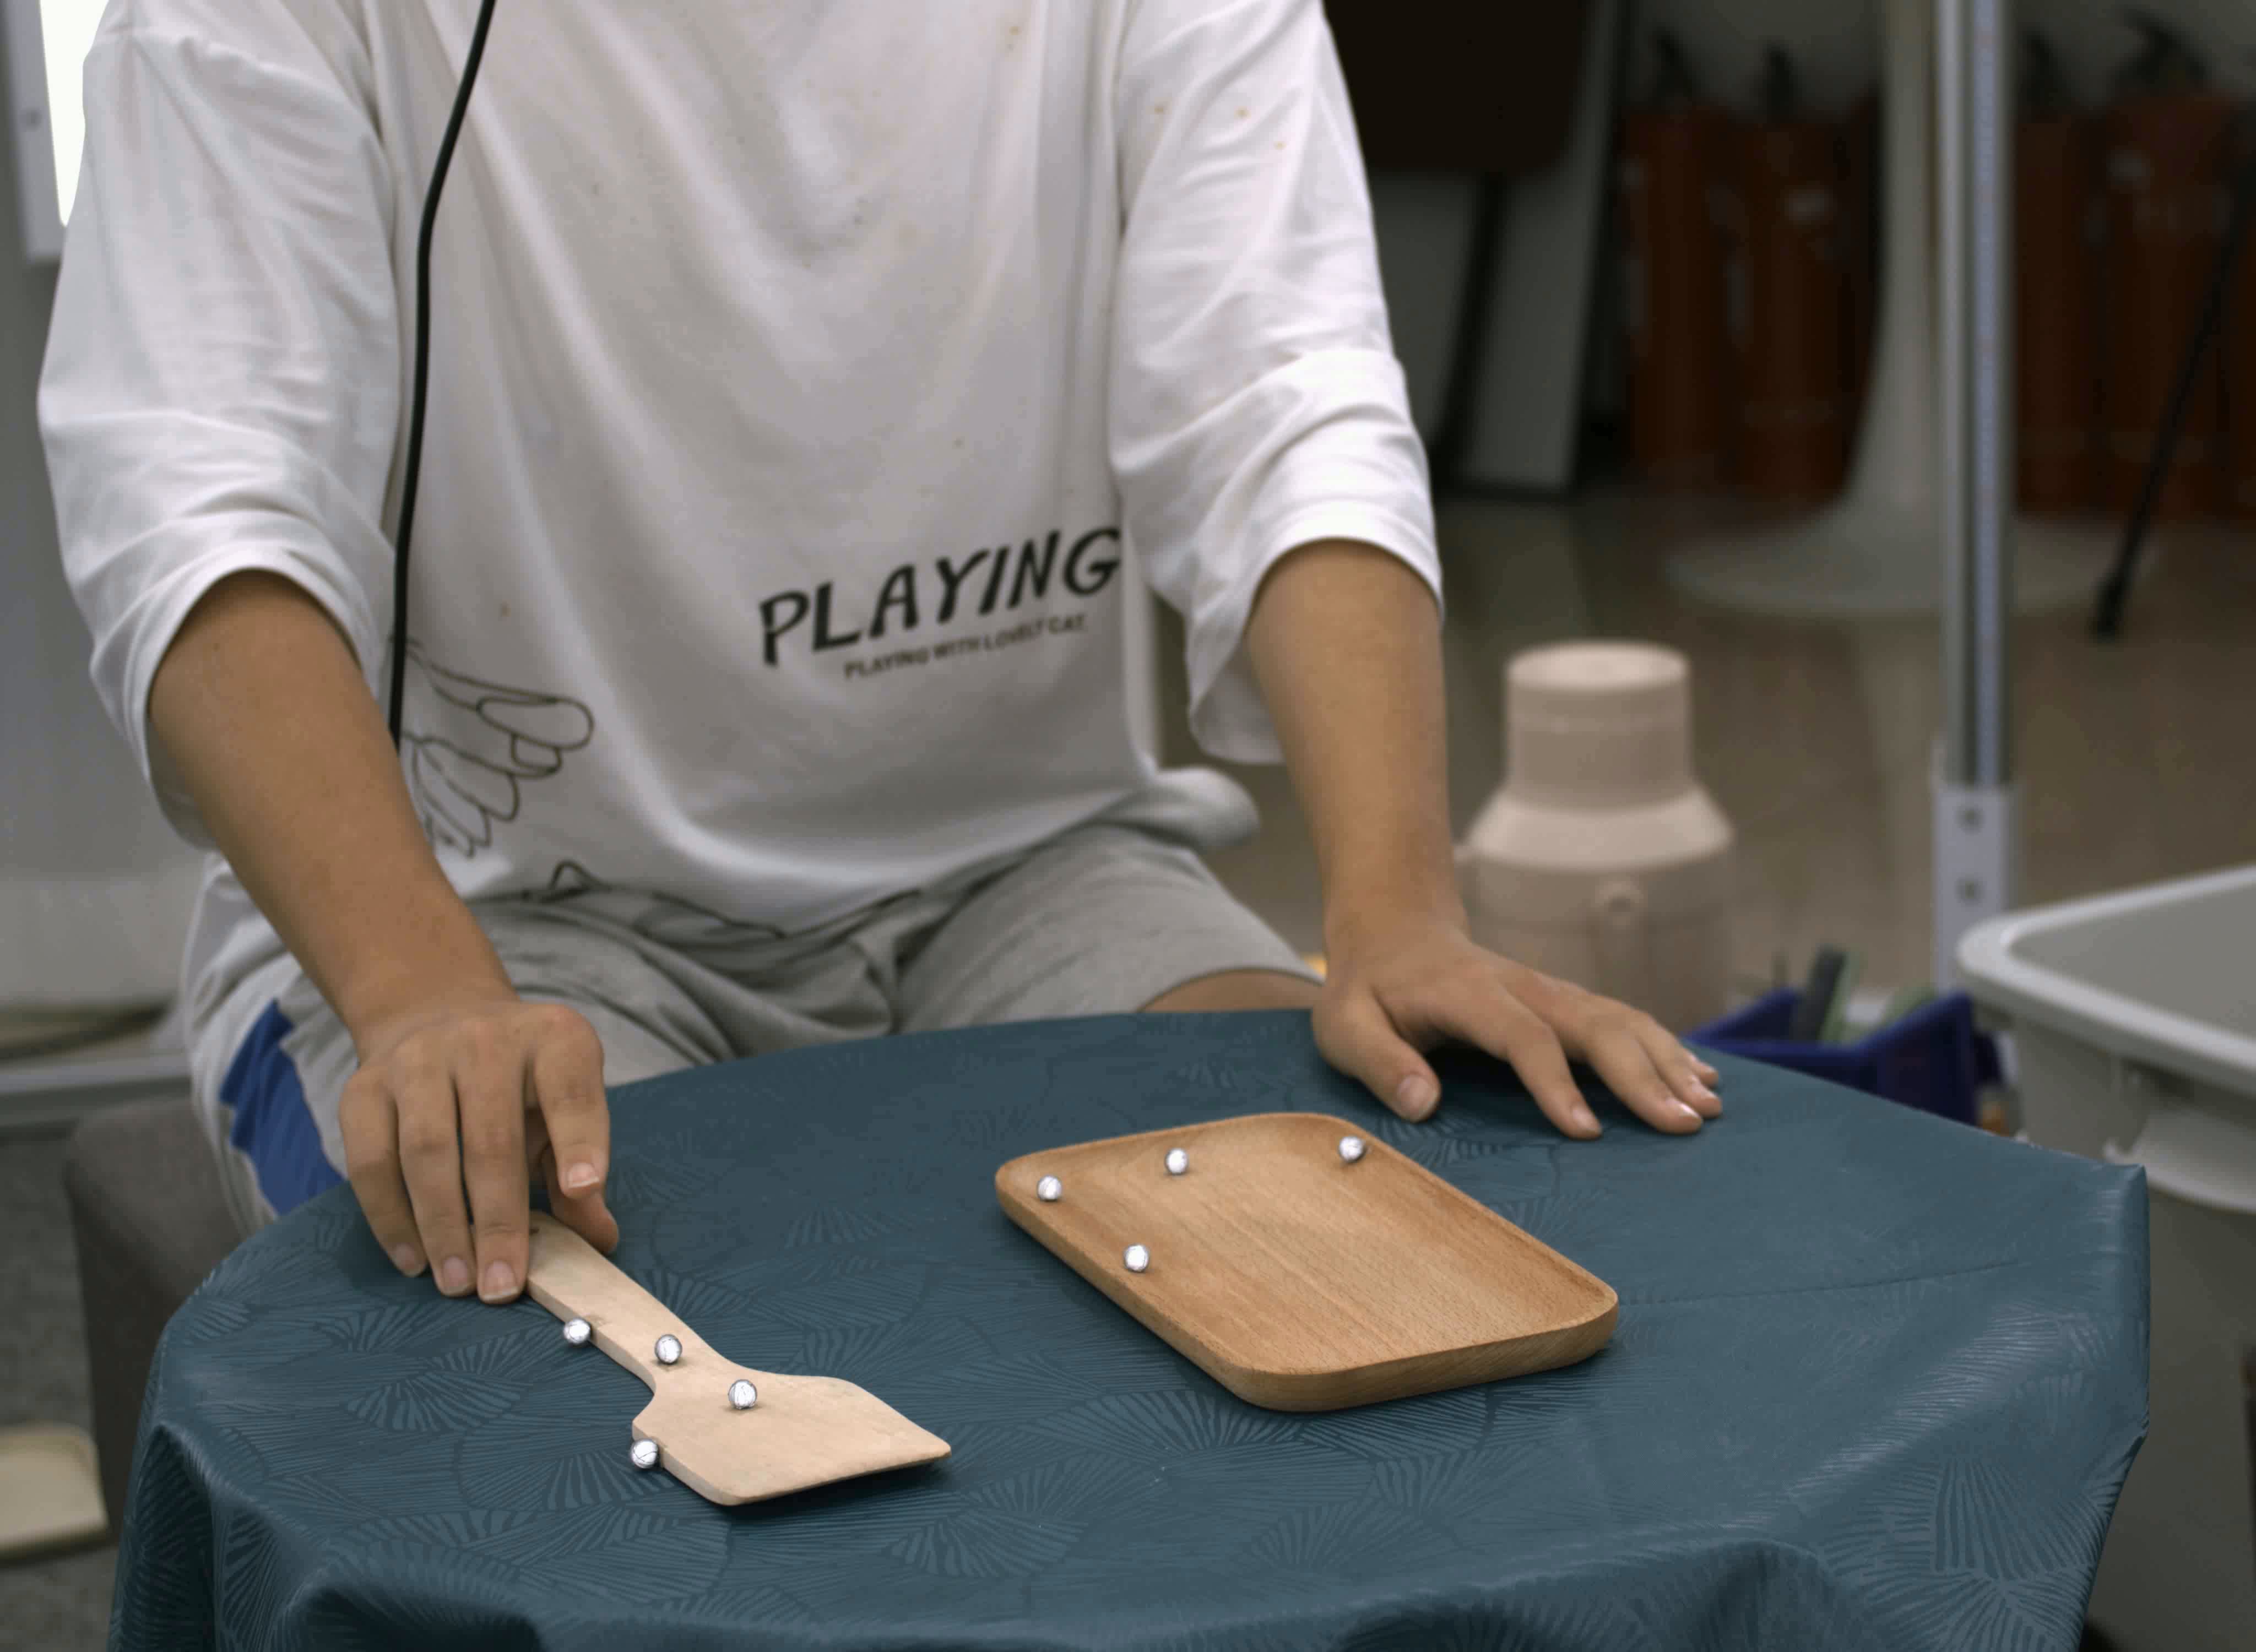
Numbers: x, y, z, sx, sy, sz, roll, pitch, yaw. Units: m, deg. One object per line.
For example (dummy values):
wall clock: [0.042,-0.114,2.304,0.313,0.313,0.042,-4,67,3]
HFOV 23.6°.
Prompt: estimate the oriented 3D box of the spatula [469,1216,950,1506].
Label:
spatula: [-0.143,0.159,1.640,0.071,0.011,0.296,-11,15,-24]

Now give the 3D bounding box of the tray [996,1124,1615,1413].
tray: [0.051,0.135,1.672,0.128,0.023,0.253,-11,15,-17]
